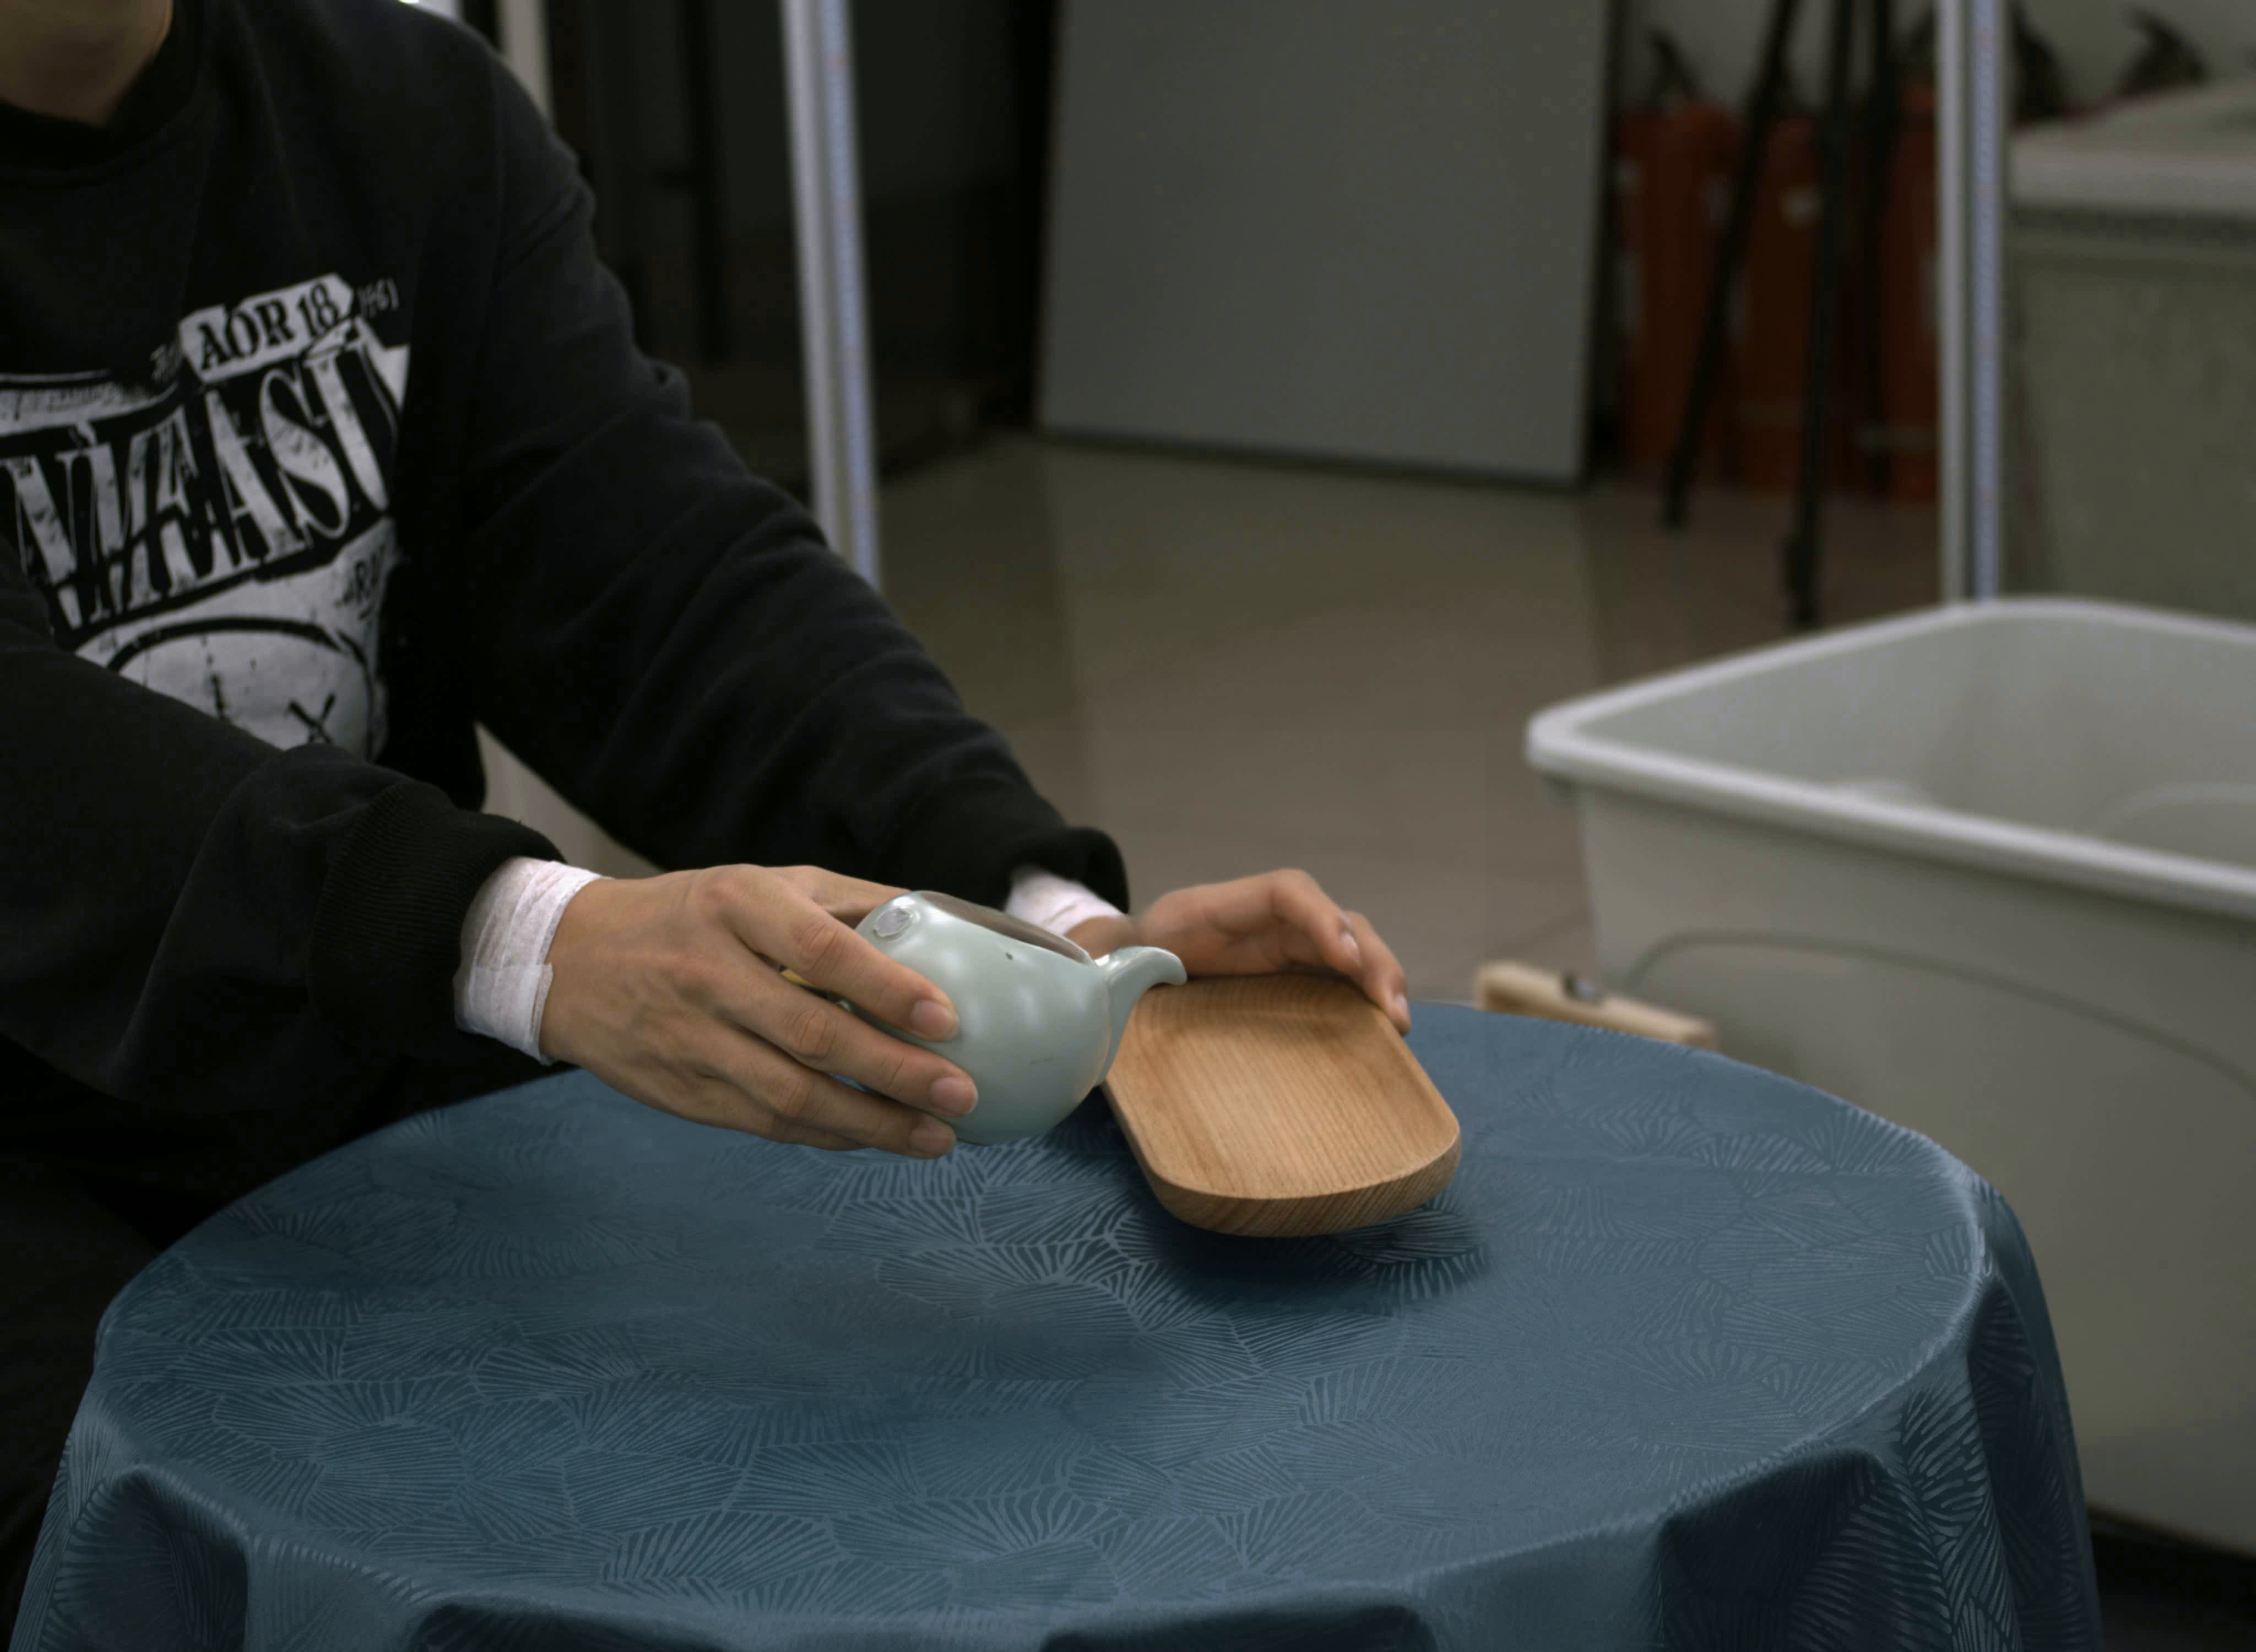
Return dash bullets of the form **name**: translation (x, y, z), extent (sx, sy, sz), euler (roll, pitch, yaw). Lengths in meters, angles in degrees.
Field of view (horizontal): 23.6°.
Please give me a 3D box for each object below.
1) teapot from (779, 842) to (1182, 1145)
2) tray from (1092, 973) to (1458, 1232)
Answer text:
- **teapot**: translation (-0.050, 0.055, 1.645), extent (0.141, 0.075, 0.089), euler (19, 5, -33)
- **tray**: translation (0.044, 0.089, 1.767), extent (0.100, 0.020, 0.232), euler (-8, 14, -7)
